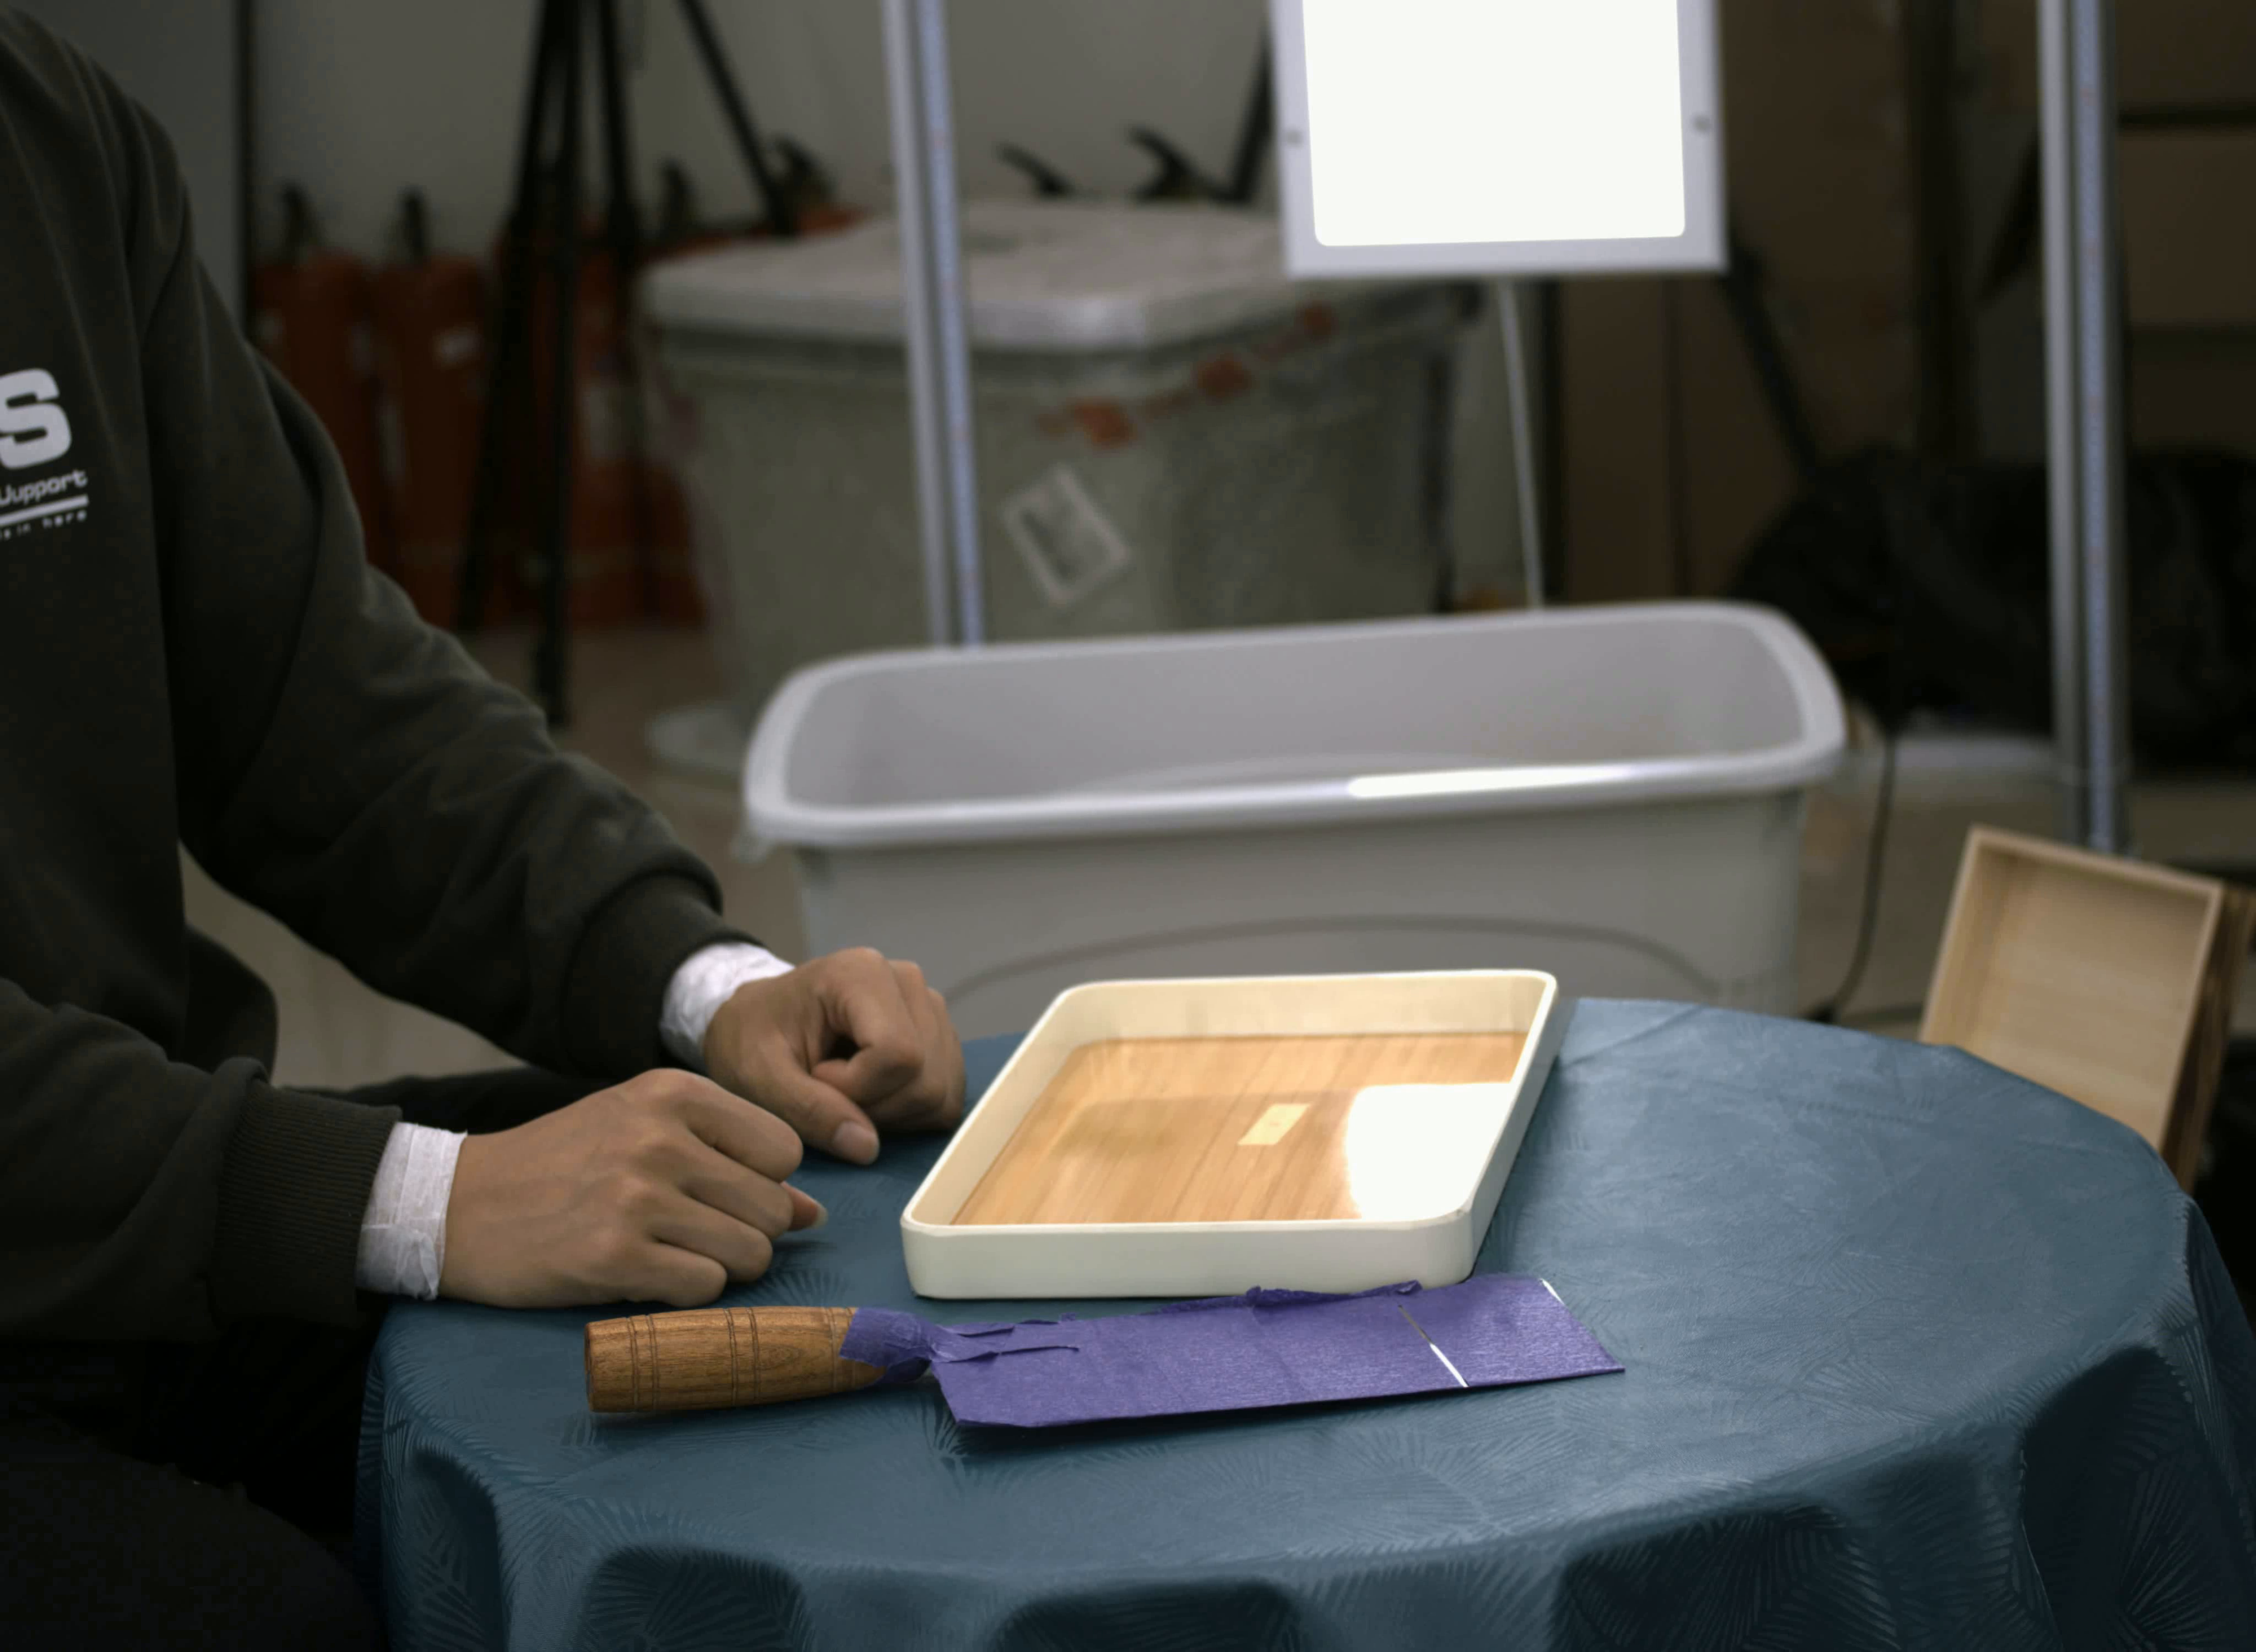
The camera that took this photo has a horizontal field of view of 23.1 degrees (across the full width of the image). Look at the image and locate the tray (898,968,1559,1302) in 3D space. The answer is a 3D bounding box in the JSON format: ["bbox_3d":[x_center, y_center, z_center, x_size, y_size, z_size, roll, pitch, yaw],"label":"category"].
[{"bbox_3d":[0.042,0.105,1.921,0.193,0.027,0.296,-3,14,13],"label":"tray"}]

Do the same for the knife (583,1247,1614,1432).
[{"bbox_3d":[-0.009,0.162,1.703,0.312,0.032,0.104,-7,13,-8],"label":"knife"}]
